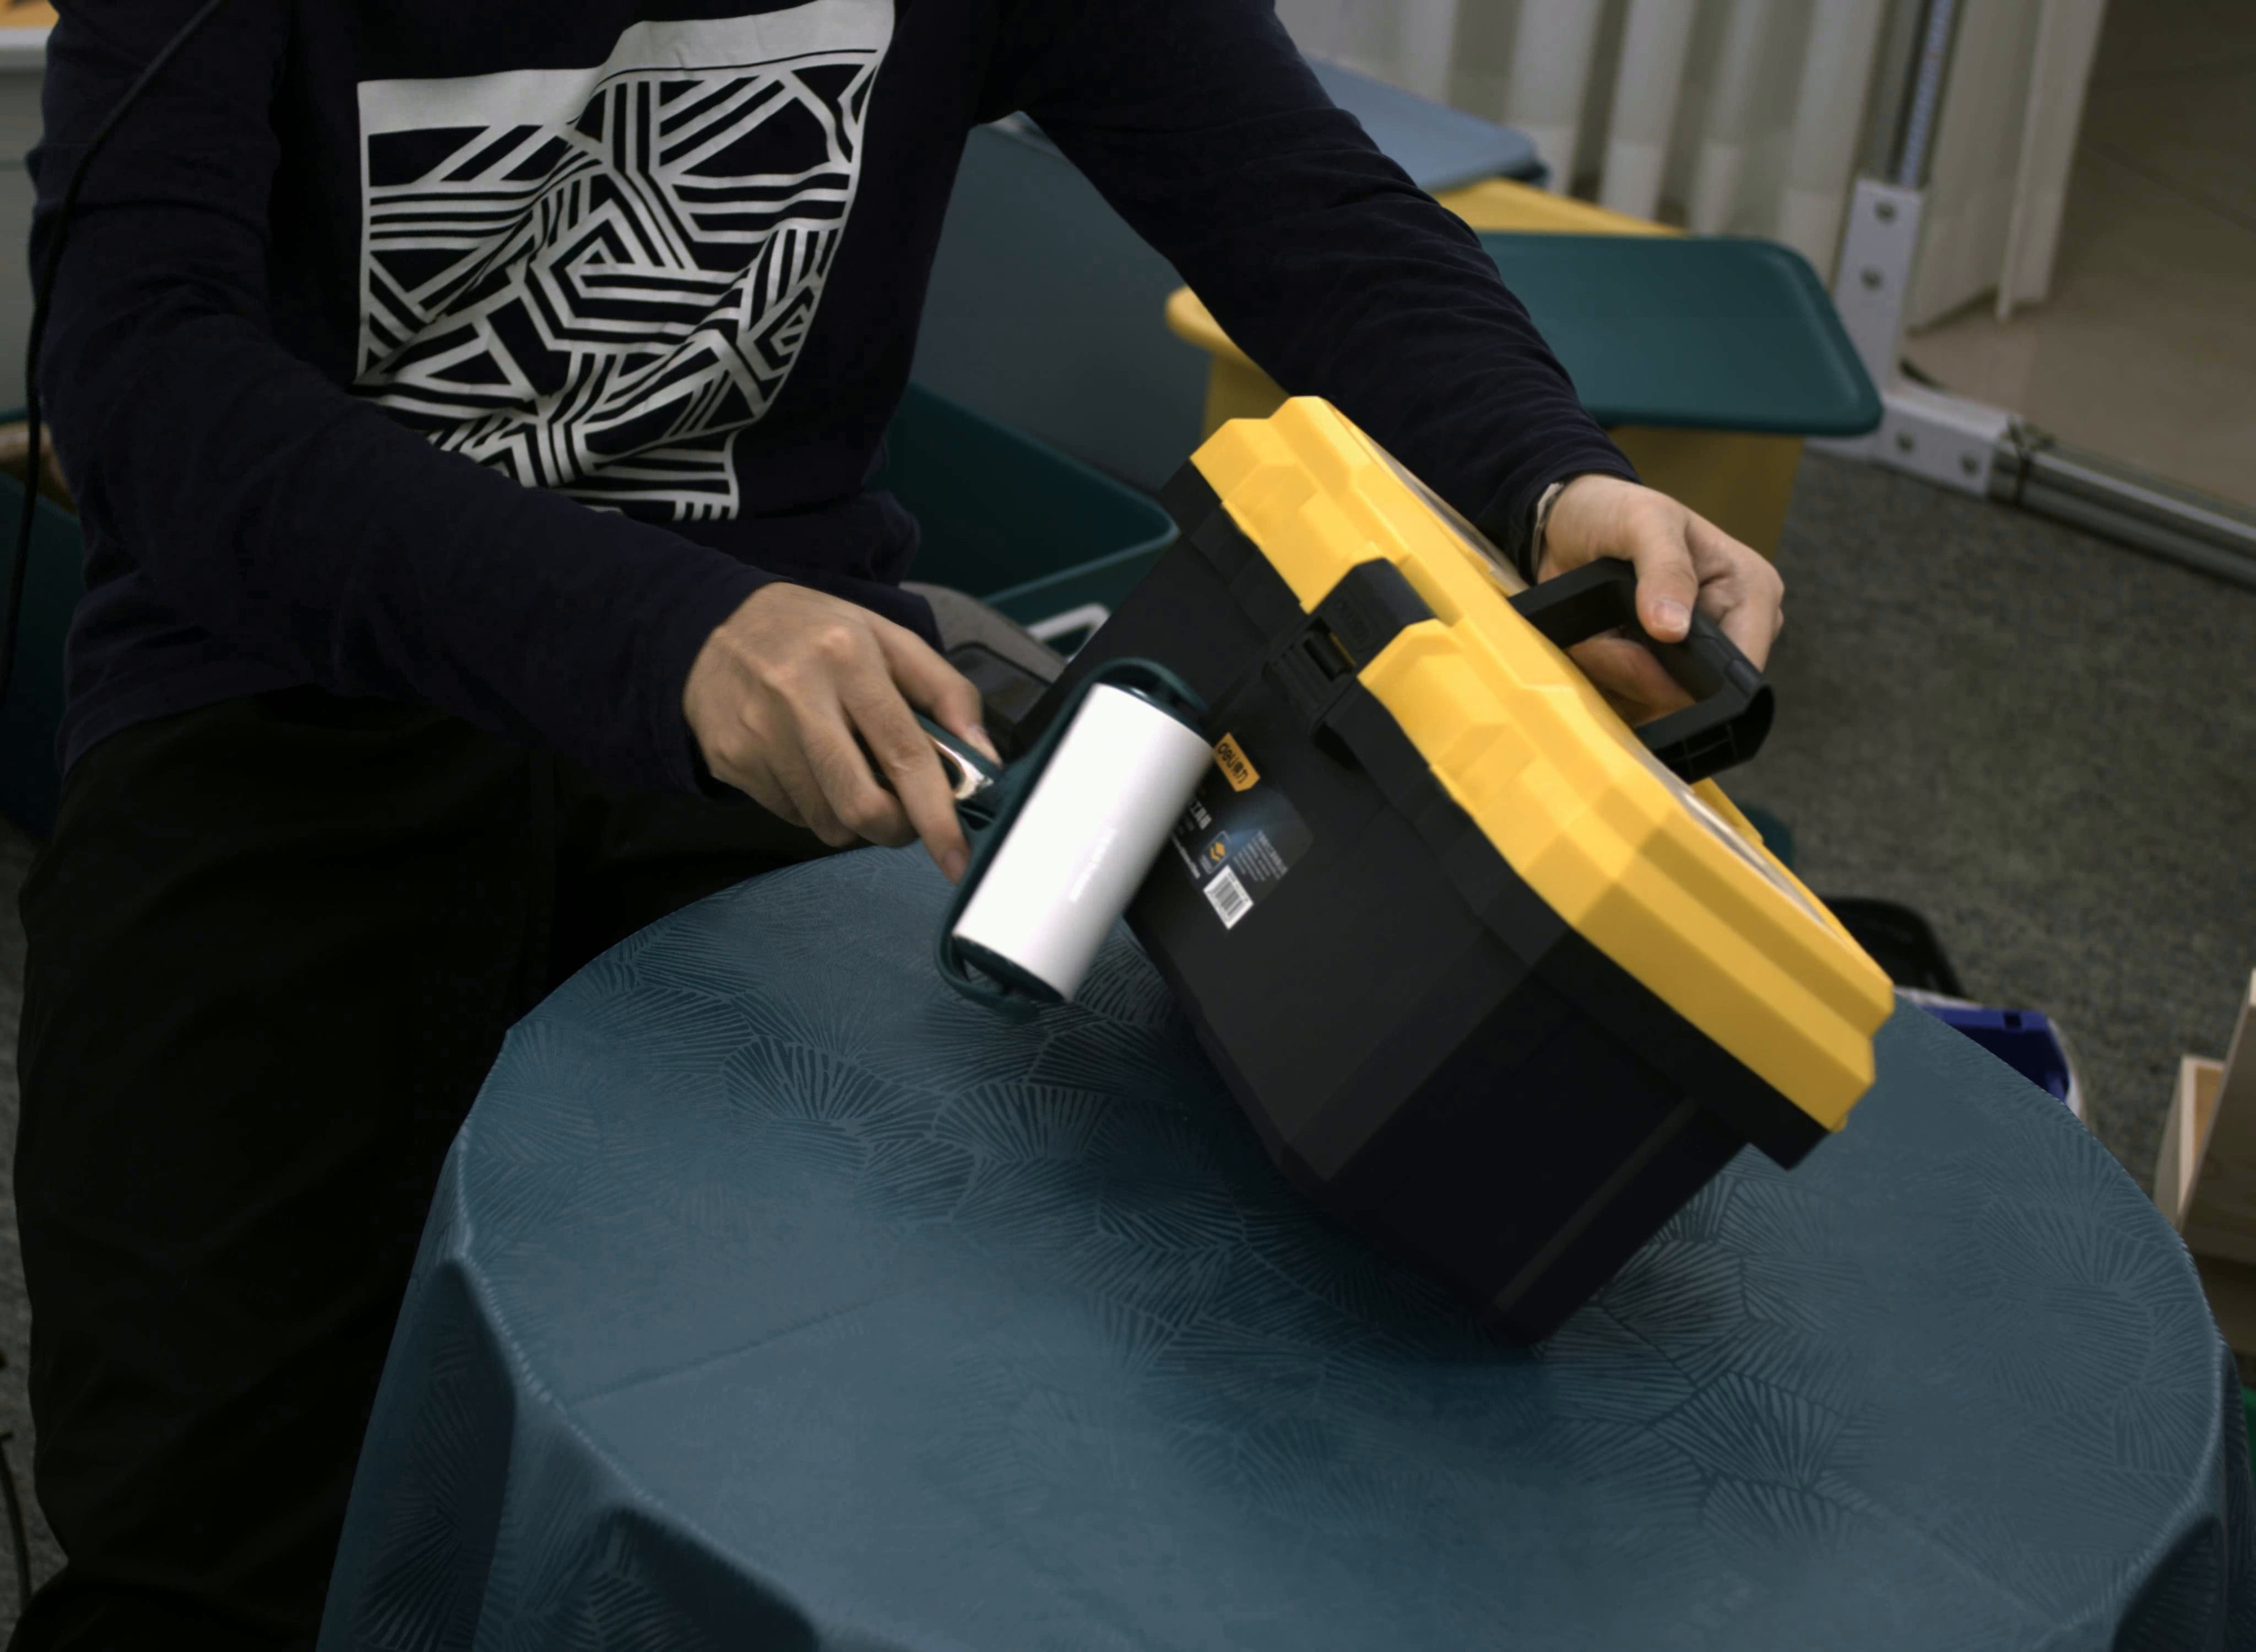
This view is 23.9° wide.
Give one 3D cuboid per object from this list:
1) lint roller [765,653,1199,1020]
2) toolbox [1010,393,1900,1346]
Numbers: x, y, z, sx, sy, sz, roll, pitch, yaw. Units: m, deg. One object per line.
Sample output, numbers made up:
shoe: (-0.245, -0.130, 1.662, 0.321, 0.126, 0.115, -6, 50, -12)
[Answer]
lint roller: (-0.069, -0.017, 1.853, 0.181, 0.134, 0.048, 23, -11, 35)
toolbox: (0.100, 0.009, 1.820, 0.180, 0.173, 0.354, 38, 10, -32)
